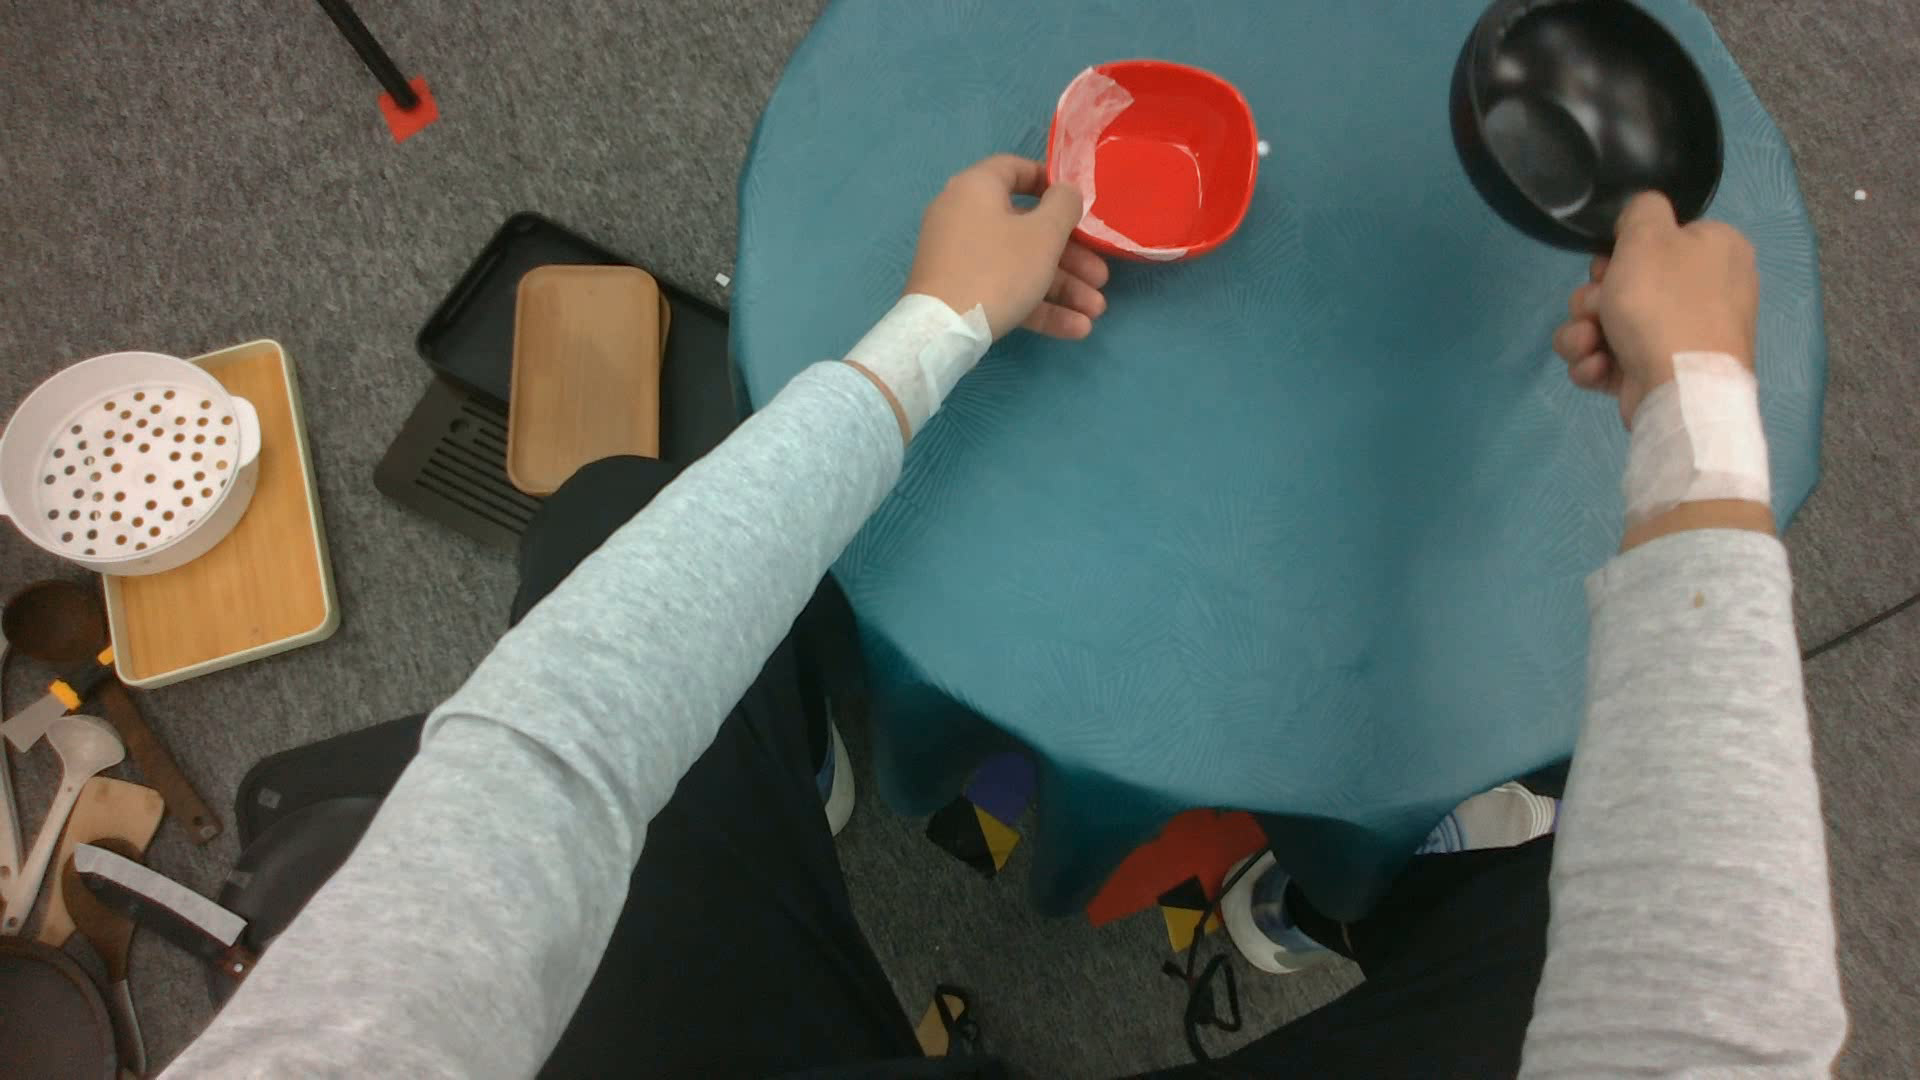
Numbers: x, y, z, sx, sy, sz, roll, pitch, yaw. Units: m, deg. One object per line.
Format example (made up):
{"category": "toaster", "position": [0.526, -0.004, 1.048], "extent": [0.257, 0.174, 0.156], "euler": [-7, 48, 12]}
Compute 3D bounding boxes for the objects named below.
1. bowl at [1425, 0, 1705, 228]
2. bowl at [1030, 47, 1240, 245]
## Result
{"category": "bowl", "position": [0.271, -0.206, 0.641], "extent": [0.140, 0.049, 0.140], "euler": [2, 80, -15]}
{"category": "bowl", "position": [0.091, -0.203, 0.742], "extent": [0.119, 0.051, 0.119], "euler": [1, 75, -2]}
